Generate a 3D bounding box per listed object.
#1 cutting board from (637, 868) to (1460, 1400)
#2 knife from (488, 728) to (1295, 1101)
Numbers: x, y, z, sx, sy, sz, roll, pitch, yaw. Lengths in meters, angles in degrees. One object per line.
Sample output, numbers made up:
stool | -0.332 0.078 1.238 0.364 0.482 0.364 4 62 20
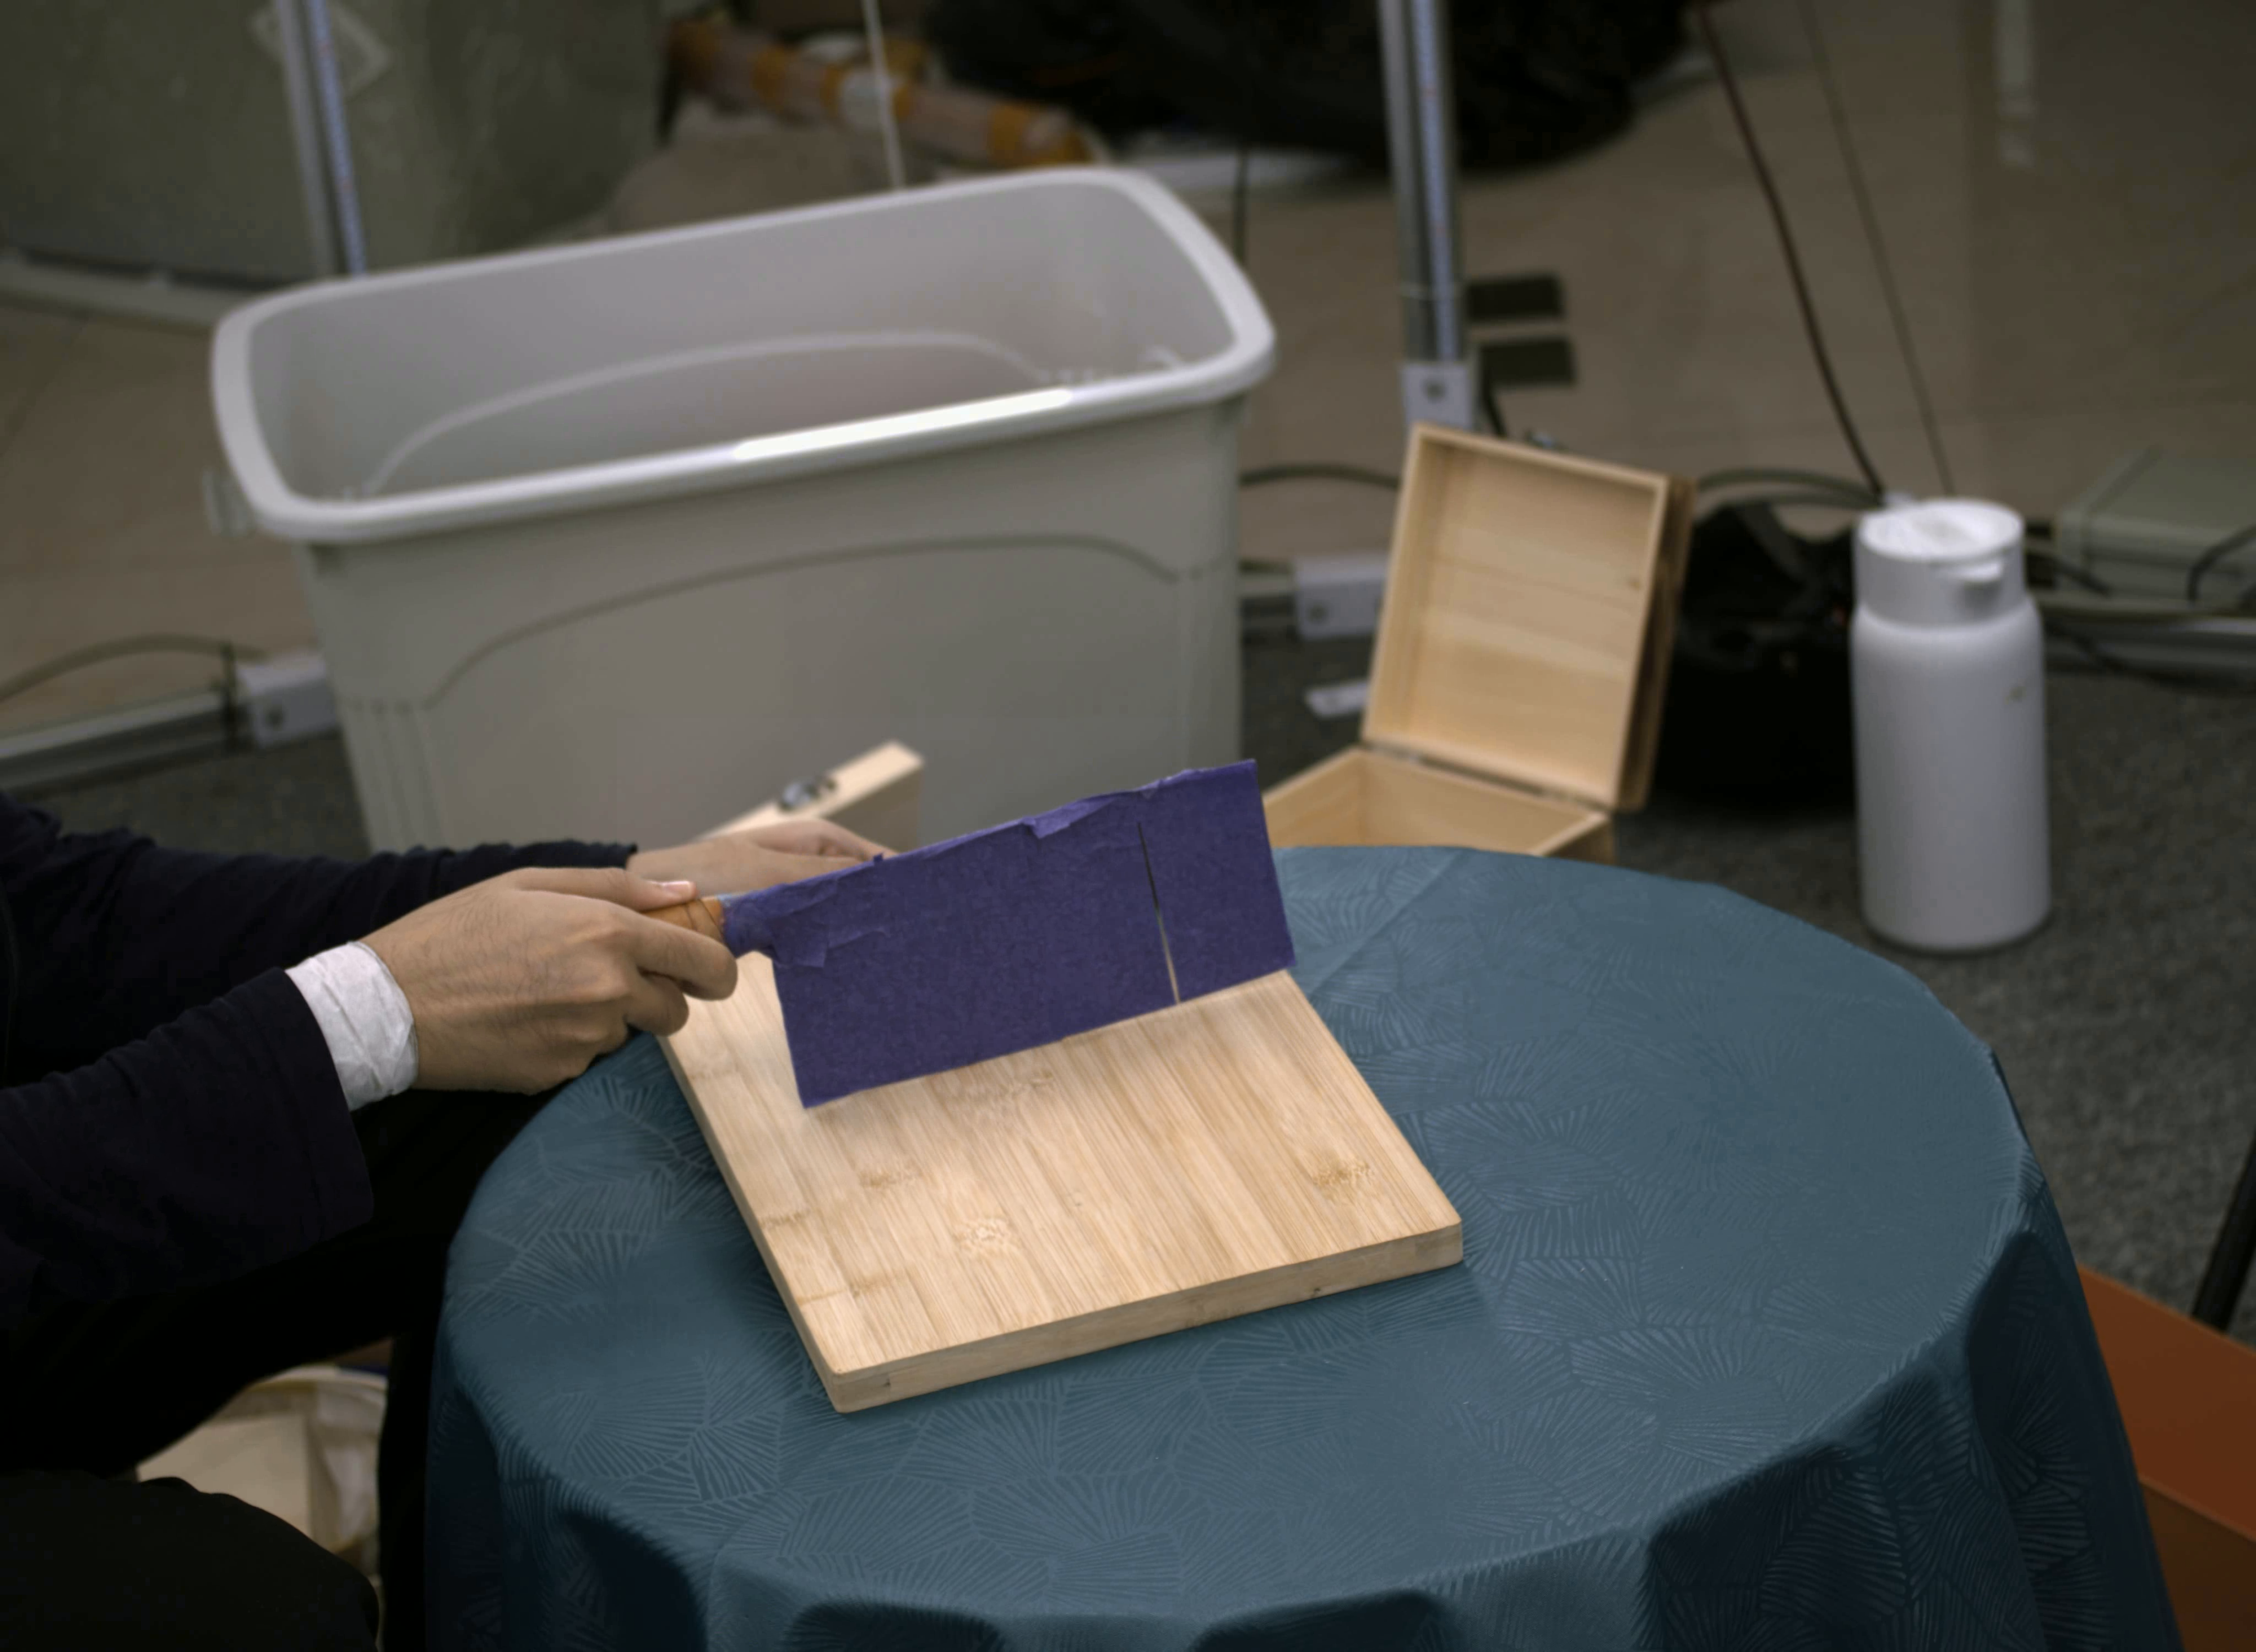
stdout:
cutting board | -0.042 0.102 2.192 0.250 0.024 0.343 -13 30 -13
knife | -0.084 0.052 2.168 0.314 0.105 0.032 -16 18 -13
